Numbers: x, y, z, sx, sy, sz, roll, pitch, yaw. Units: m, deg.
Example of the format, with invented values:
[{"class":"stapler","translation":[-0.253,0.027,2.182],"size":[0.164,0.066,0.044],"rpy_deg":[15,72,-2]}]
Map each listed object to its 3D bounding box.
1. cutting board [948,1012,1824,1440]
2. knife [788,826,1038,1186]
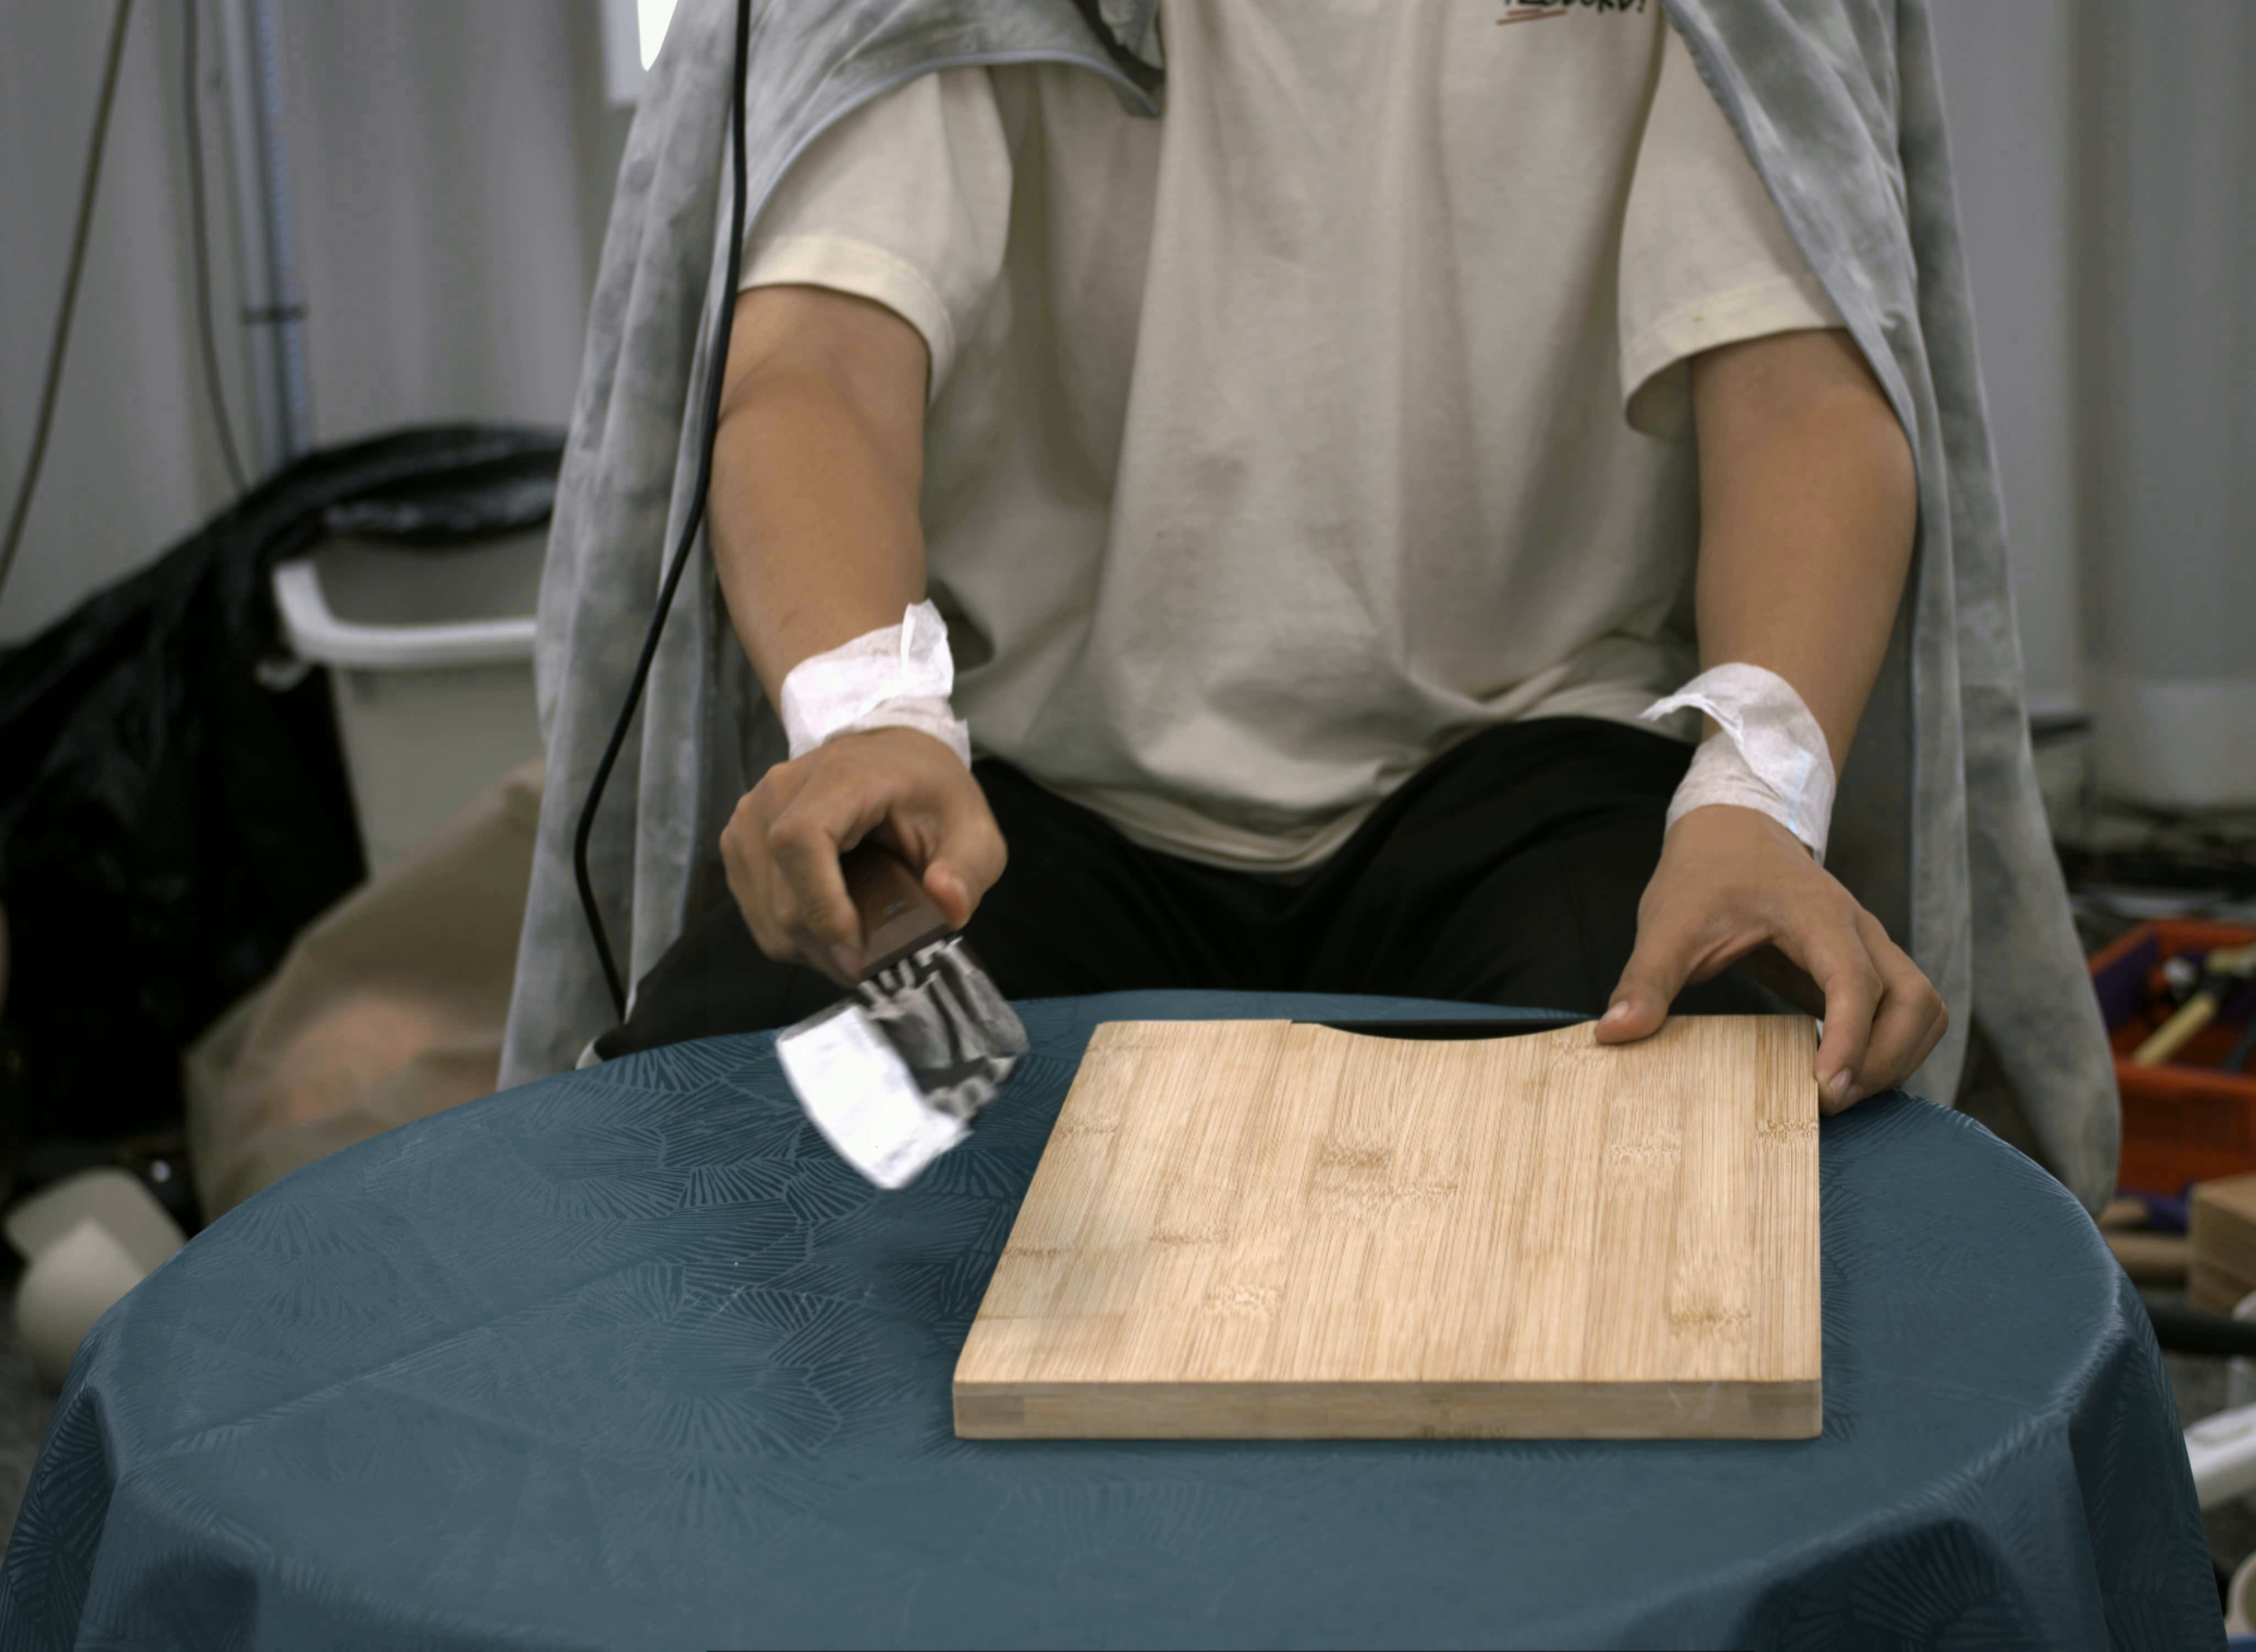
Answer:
[{"class":"cutting board","translation":[0.090,0.116,1.666],"size":[0.250,0.023,0.350],"rpy_deg":[-1,15,6]},{"class":"knife","translation":[-0.072,0.054,1.675],"size":[0.068,0.024,0.302],"rpy_deg":[-33,17,-2]}]
